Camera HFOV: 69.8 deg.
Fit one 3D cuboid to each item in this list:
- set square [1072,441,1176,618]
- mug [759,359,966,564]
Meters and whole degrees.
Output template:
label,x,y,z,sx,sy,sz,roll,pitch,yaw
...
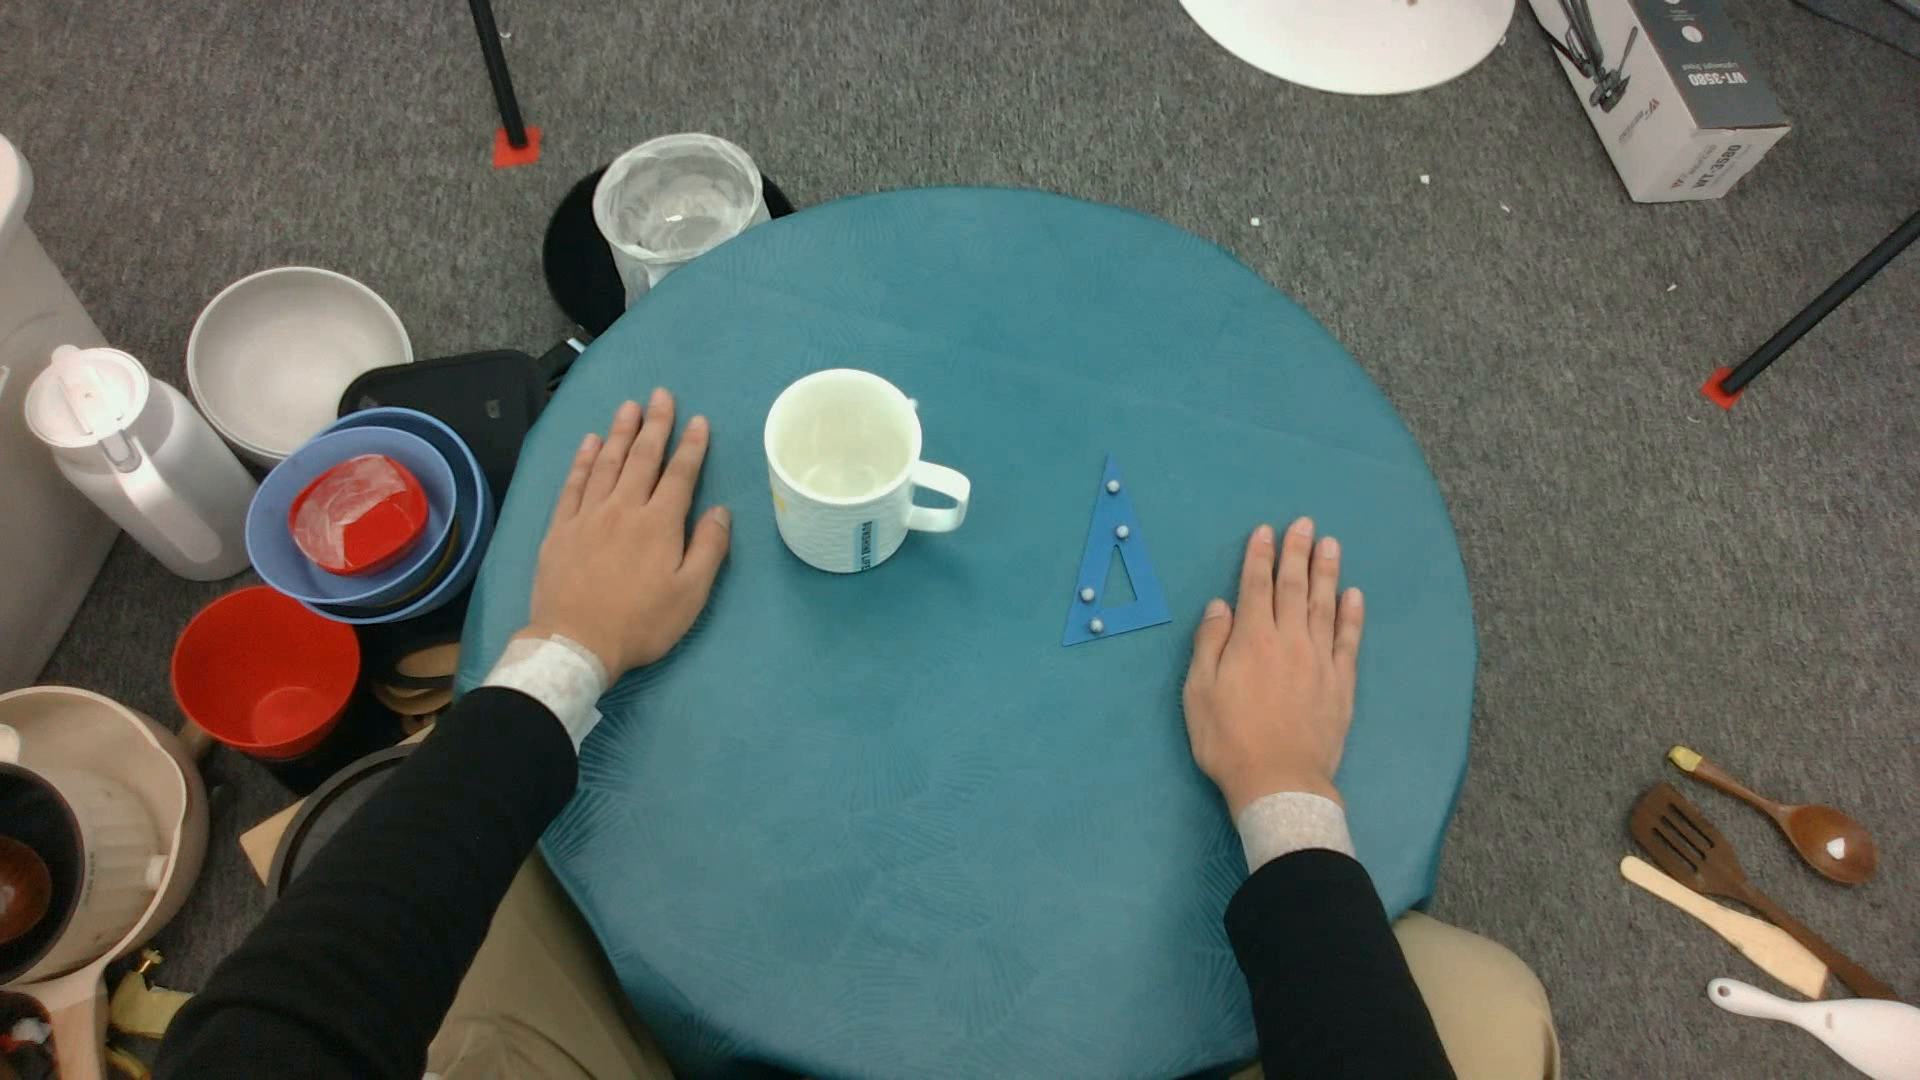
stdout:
label,x,y,z,sx,sy,sz,roll,pitch,yaw
set square,0.114,-0.001,0.852,0.061,0.006,0.132,18,64,5
mug,-0.055,-0.038,0.800,0.118,0.101,0.085,16,64,3
